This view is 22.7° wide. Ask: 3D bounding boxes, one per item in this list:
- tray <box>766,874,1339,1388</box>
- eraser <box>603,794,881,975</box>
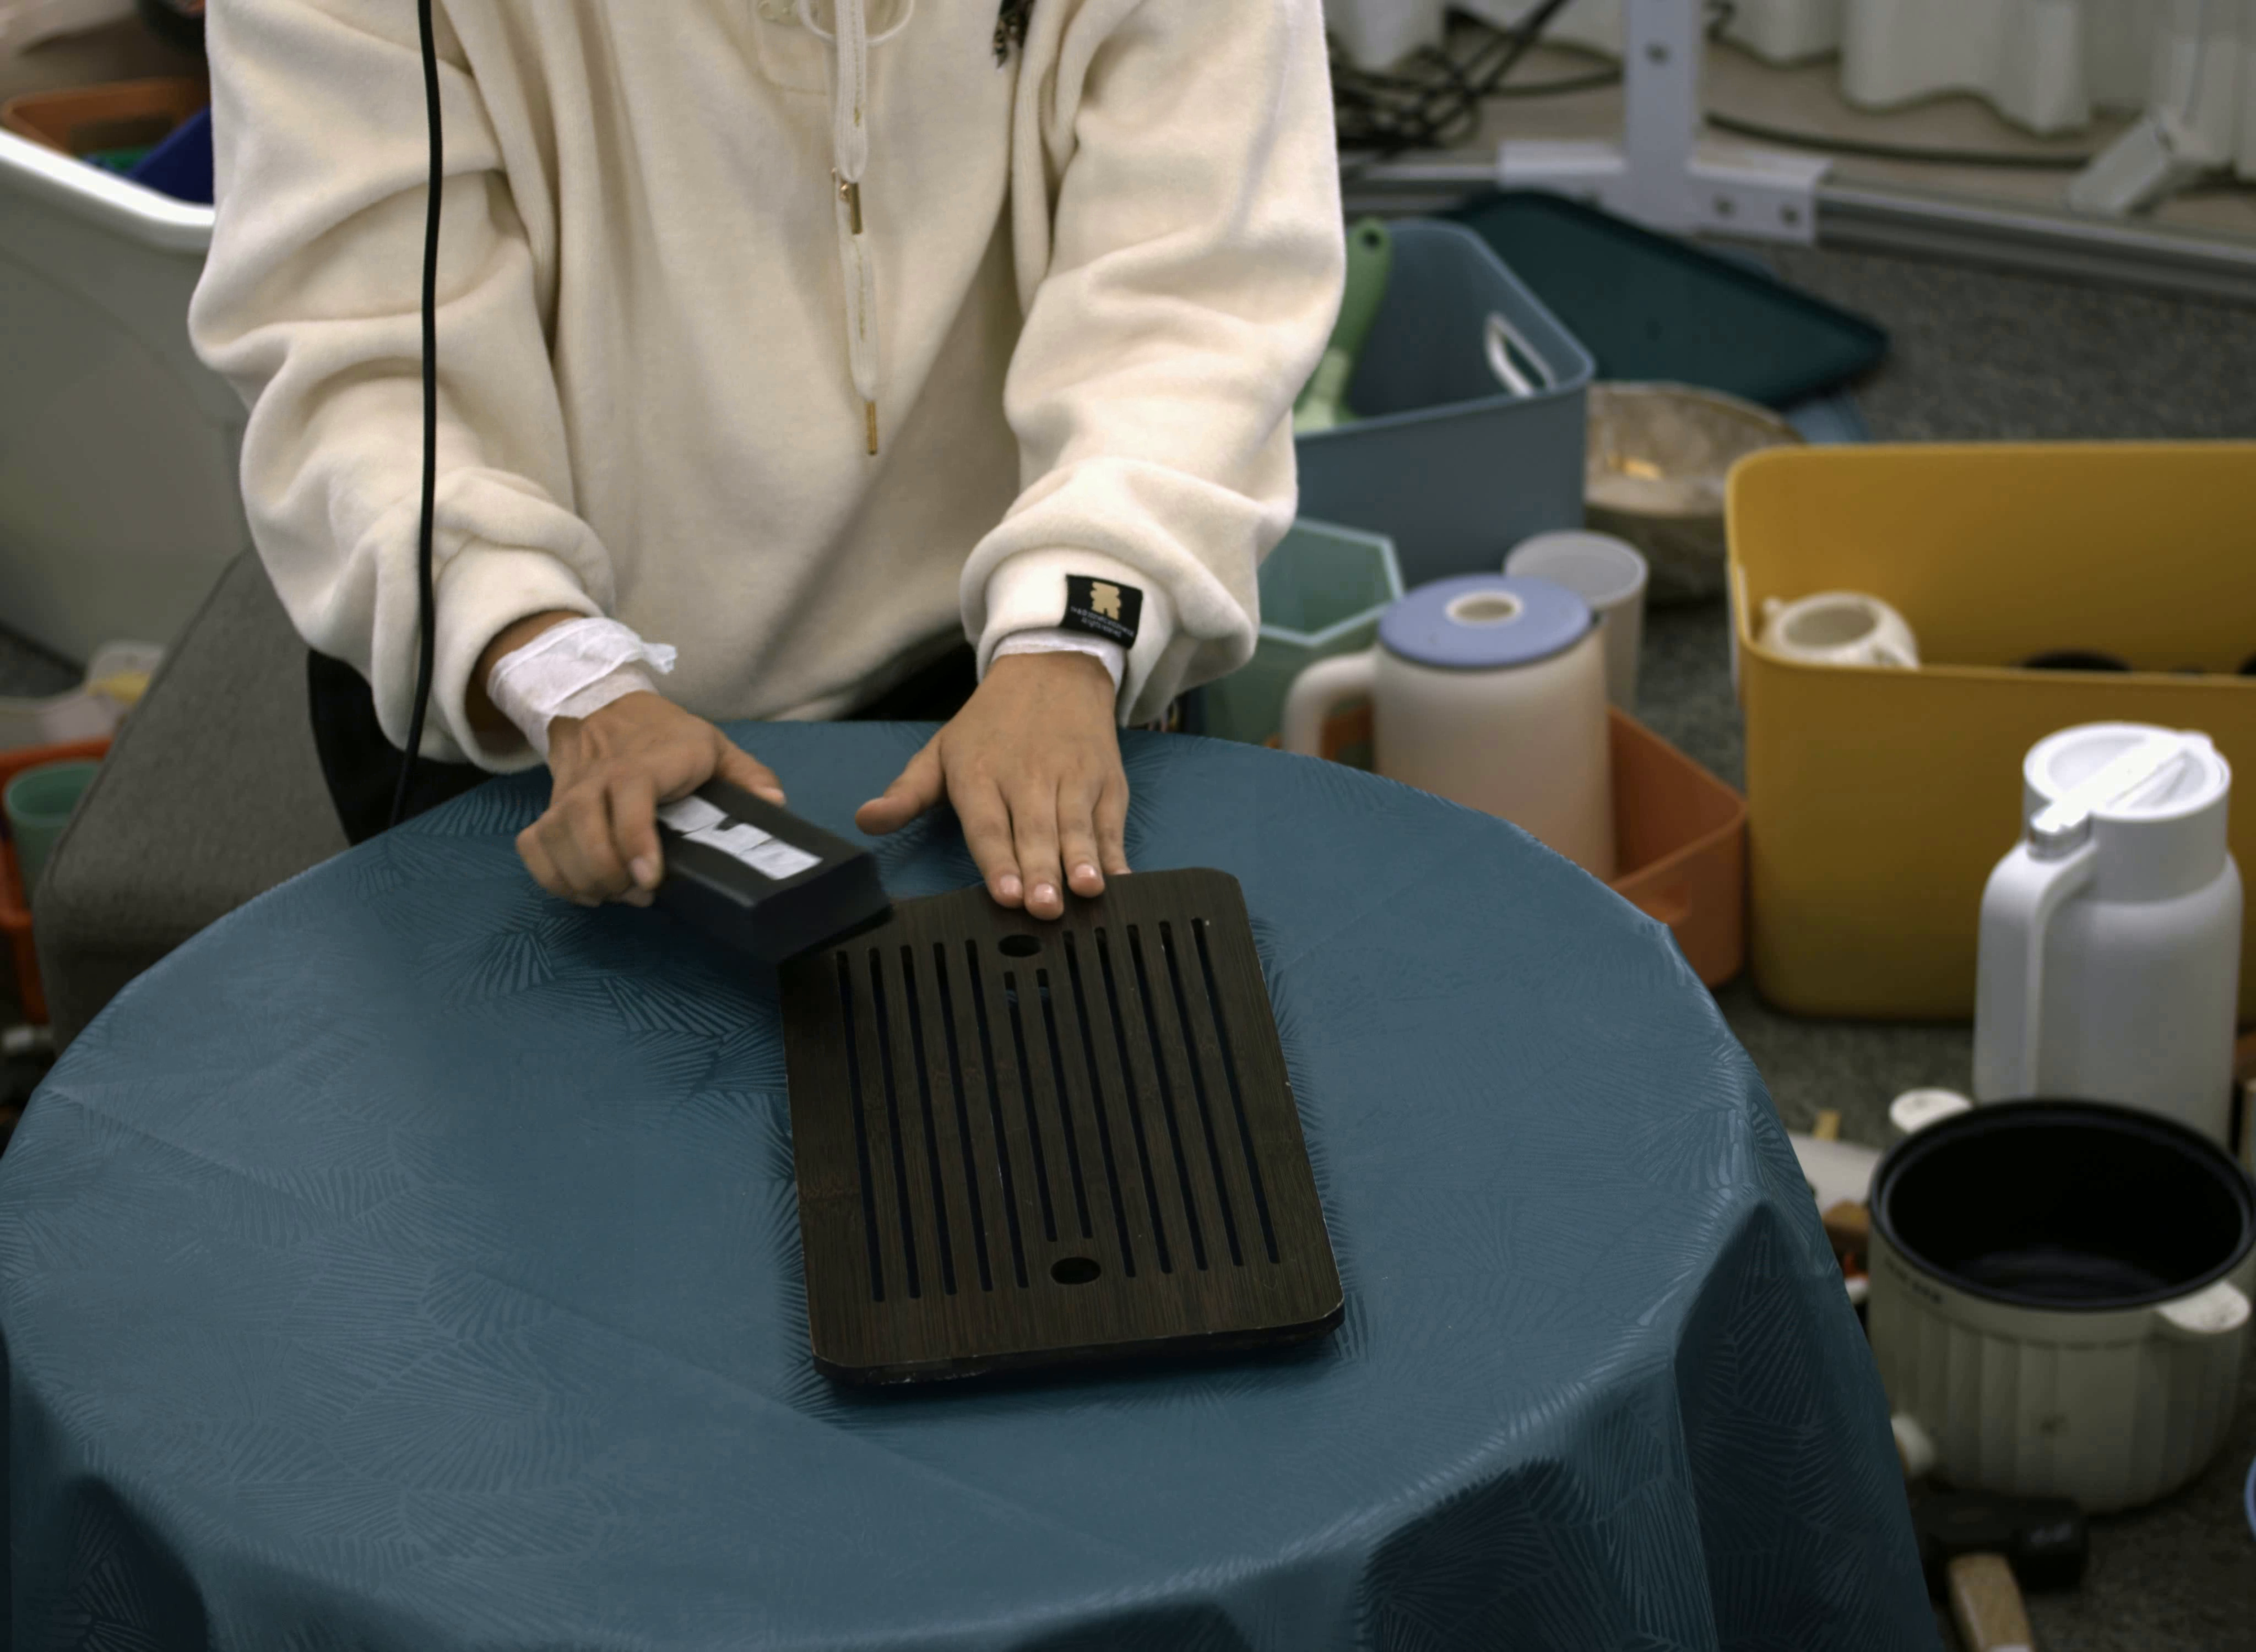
[{"bbox_3d":[-0.032,0.100,1.887,0.169,0.018,0.310,-5,27,-4],"label":"tray"},{"bbox_3d":[-0.136,0.020,1.990,0.054,0.030,0.125,-23,21,-23],"label":"eraser"}]
